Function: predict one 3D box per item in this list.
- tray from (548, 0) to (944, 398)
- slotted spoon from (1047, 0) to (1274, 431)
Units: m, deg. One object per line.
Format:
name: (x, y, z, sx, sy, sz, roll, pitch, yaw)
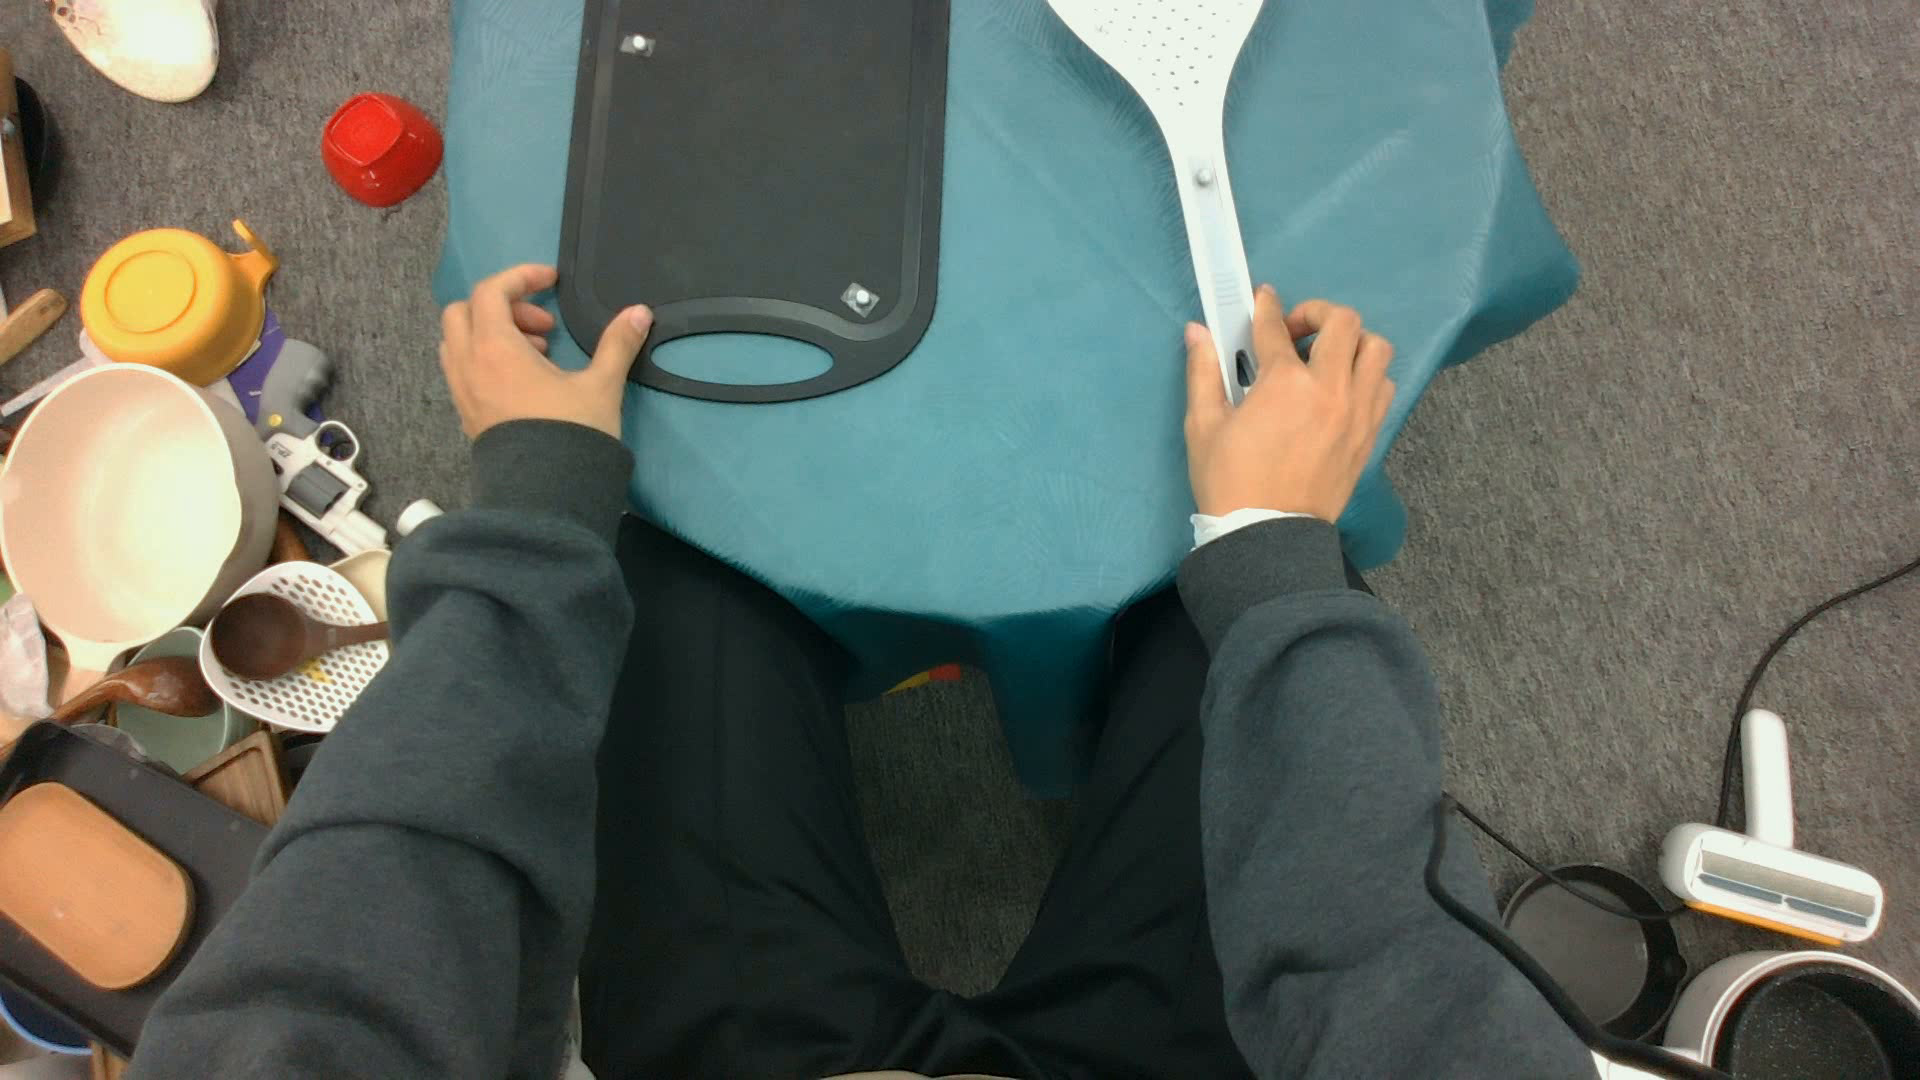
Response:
tray: (-0.118, -0.236, 0.776, 0.211, 0.010, 0.326, 2, 78, 1)
slotted spoon: (0.122, -0.230, 0.755, 0.136, 0.045, 0.350, -11, 79, -3)
